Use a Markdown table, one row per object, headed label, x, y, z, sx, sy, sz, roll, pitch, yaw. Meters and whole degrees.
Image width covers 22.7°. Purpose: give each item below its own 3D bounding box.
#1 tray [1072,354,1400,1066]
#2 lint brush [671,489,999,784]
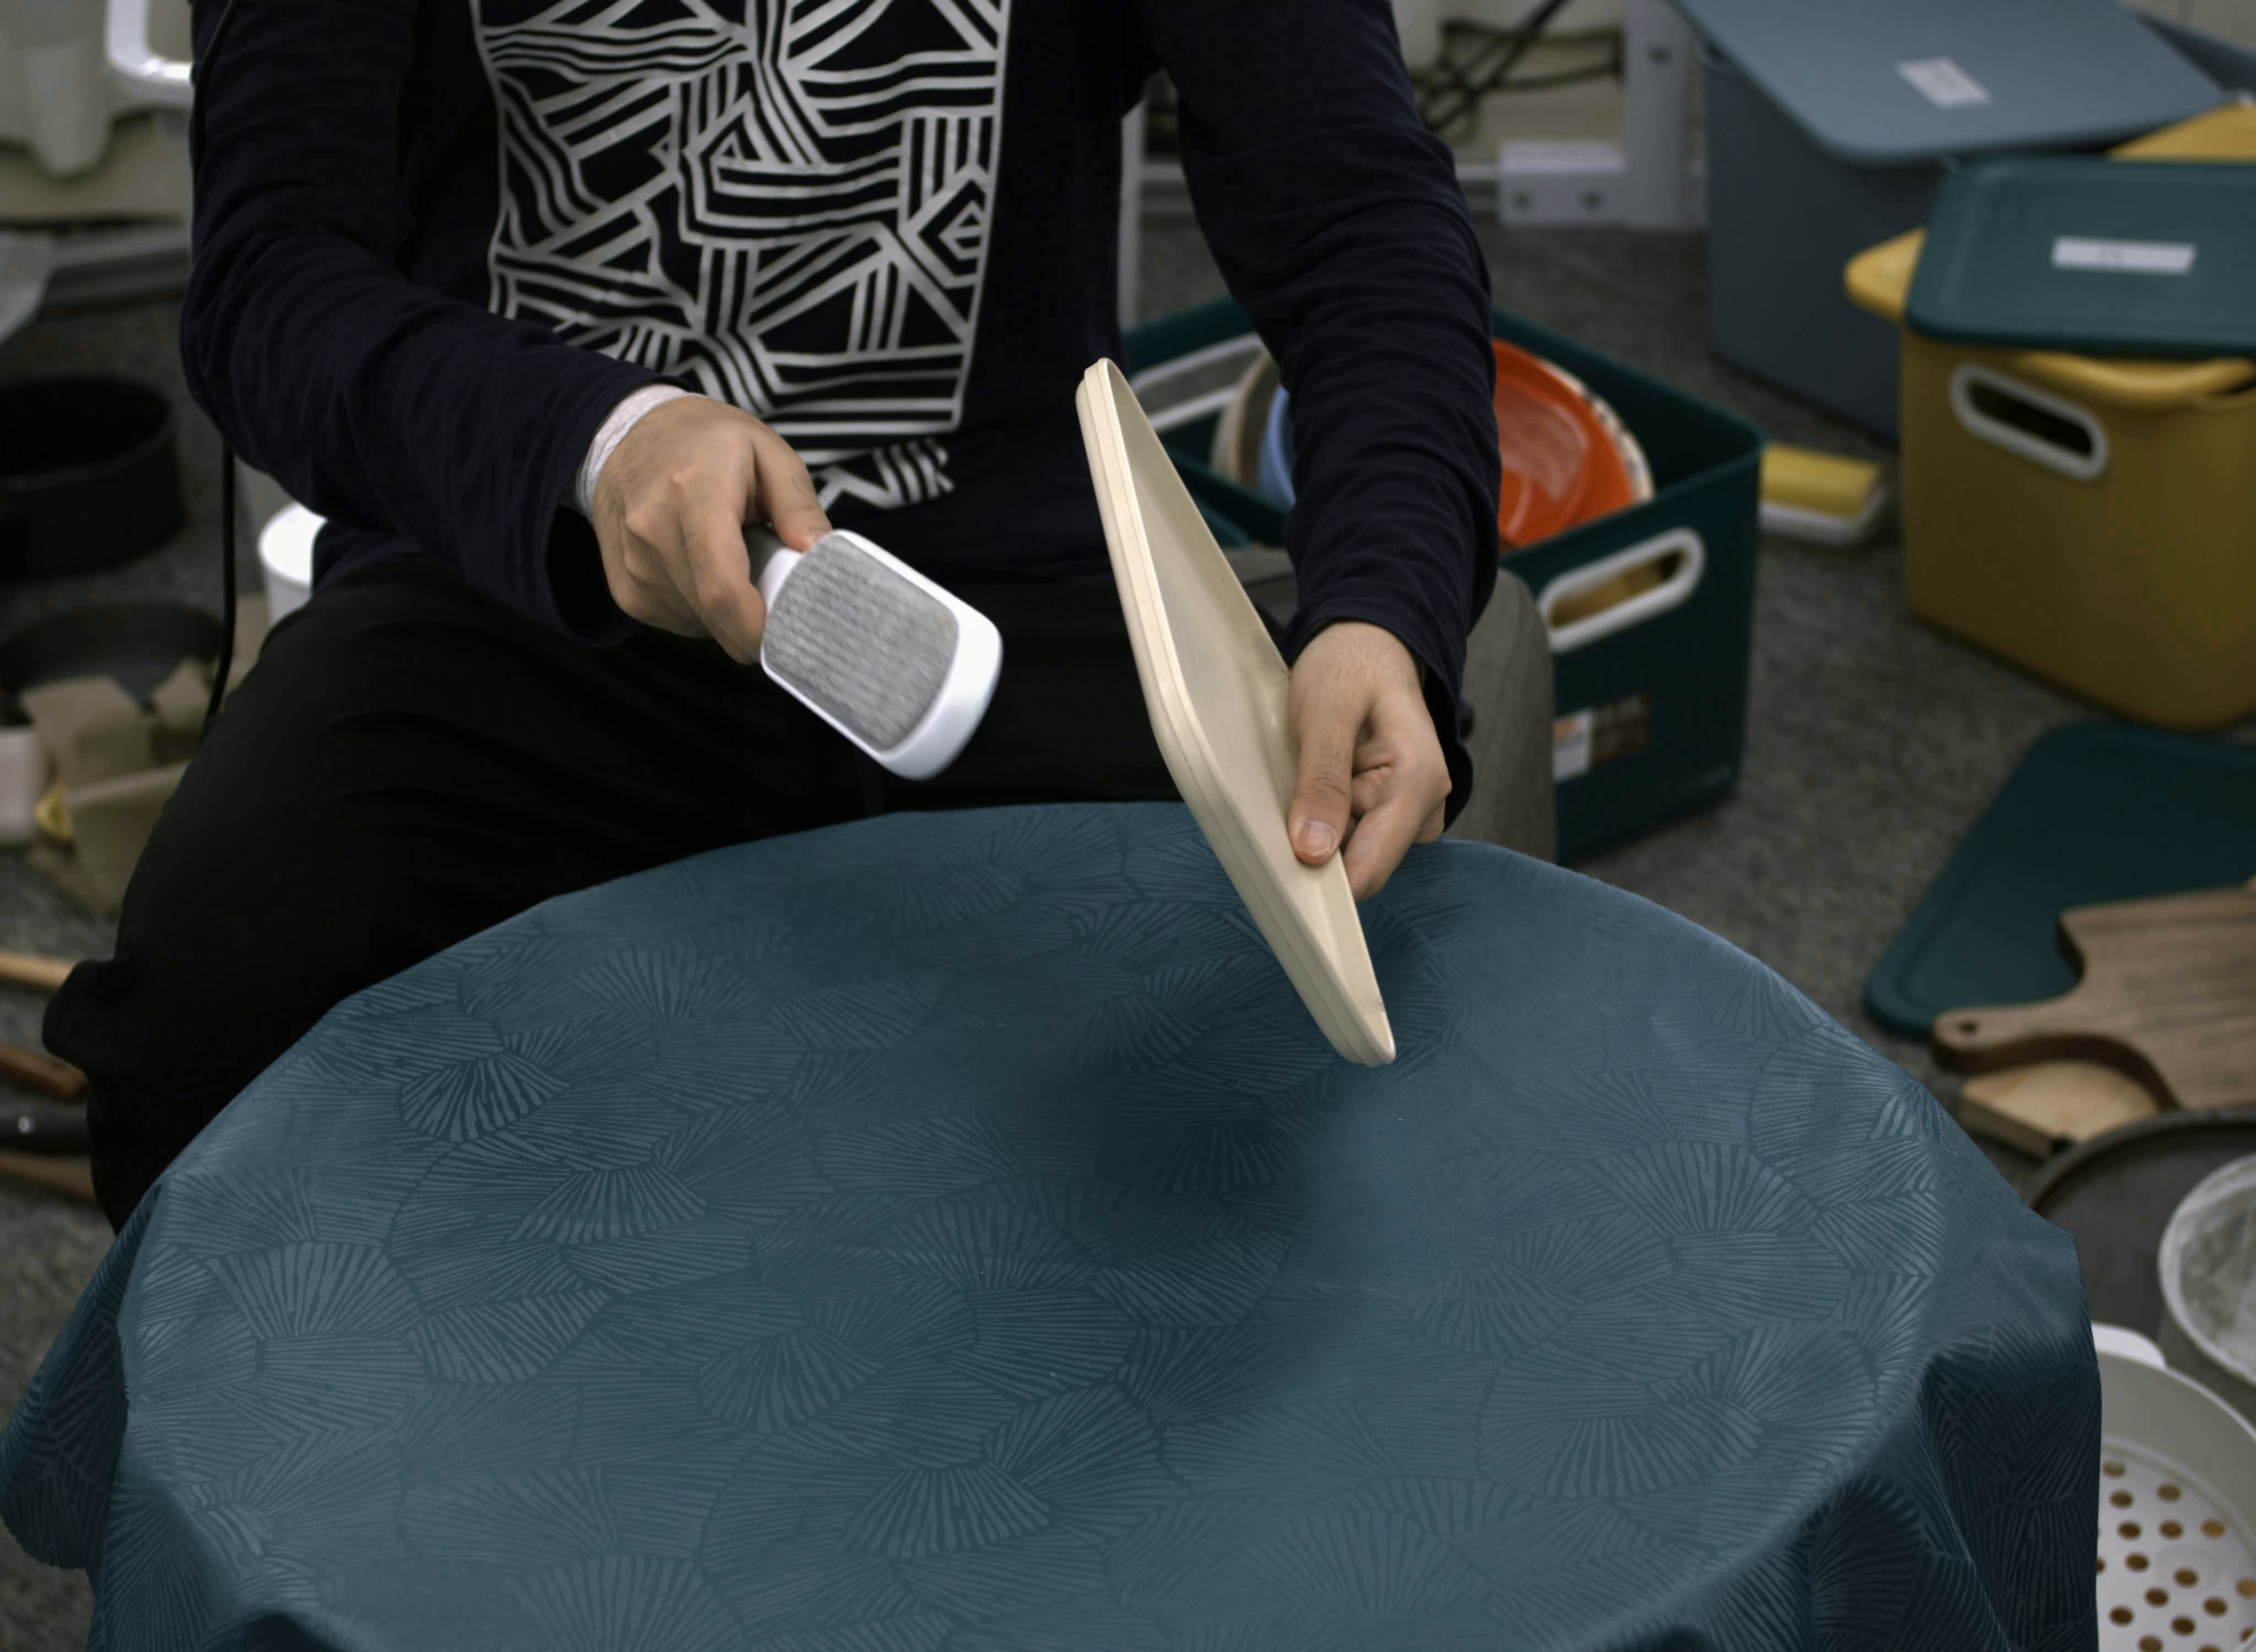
| label | x | y | z | sx | sy | sz | roll | pitch | yaw |
| --- | --- | --- | --- | --- | --- | --- | --- | --- | --- |
| tray | 0.032 | -0.039 | 1.857 | 0.017 | 0.169 | 0.243 | -25 | 36 | 9 |
| lint brush | -0.102 | -0.073 | 1.870 | 0.021 | 0.060 | 0.310 | 23 | 5 | -24 |
